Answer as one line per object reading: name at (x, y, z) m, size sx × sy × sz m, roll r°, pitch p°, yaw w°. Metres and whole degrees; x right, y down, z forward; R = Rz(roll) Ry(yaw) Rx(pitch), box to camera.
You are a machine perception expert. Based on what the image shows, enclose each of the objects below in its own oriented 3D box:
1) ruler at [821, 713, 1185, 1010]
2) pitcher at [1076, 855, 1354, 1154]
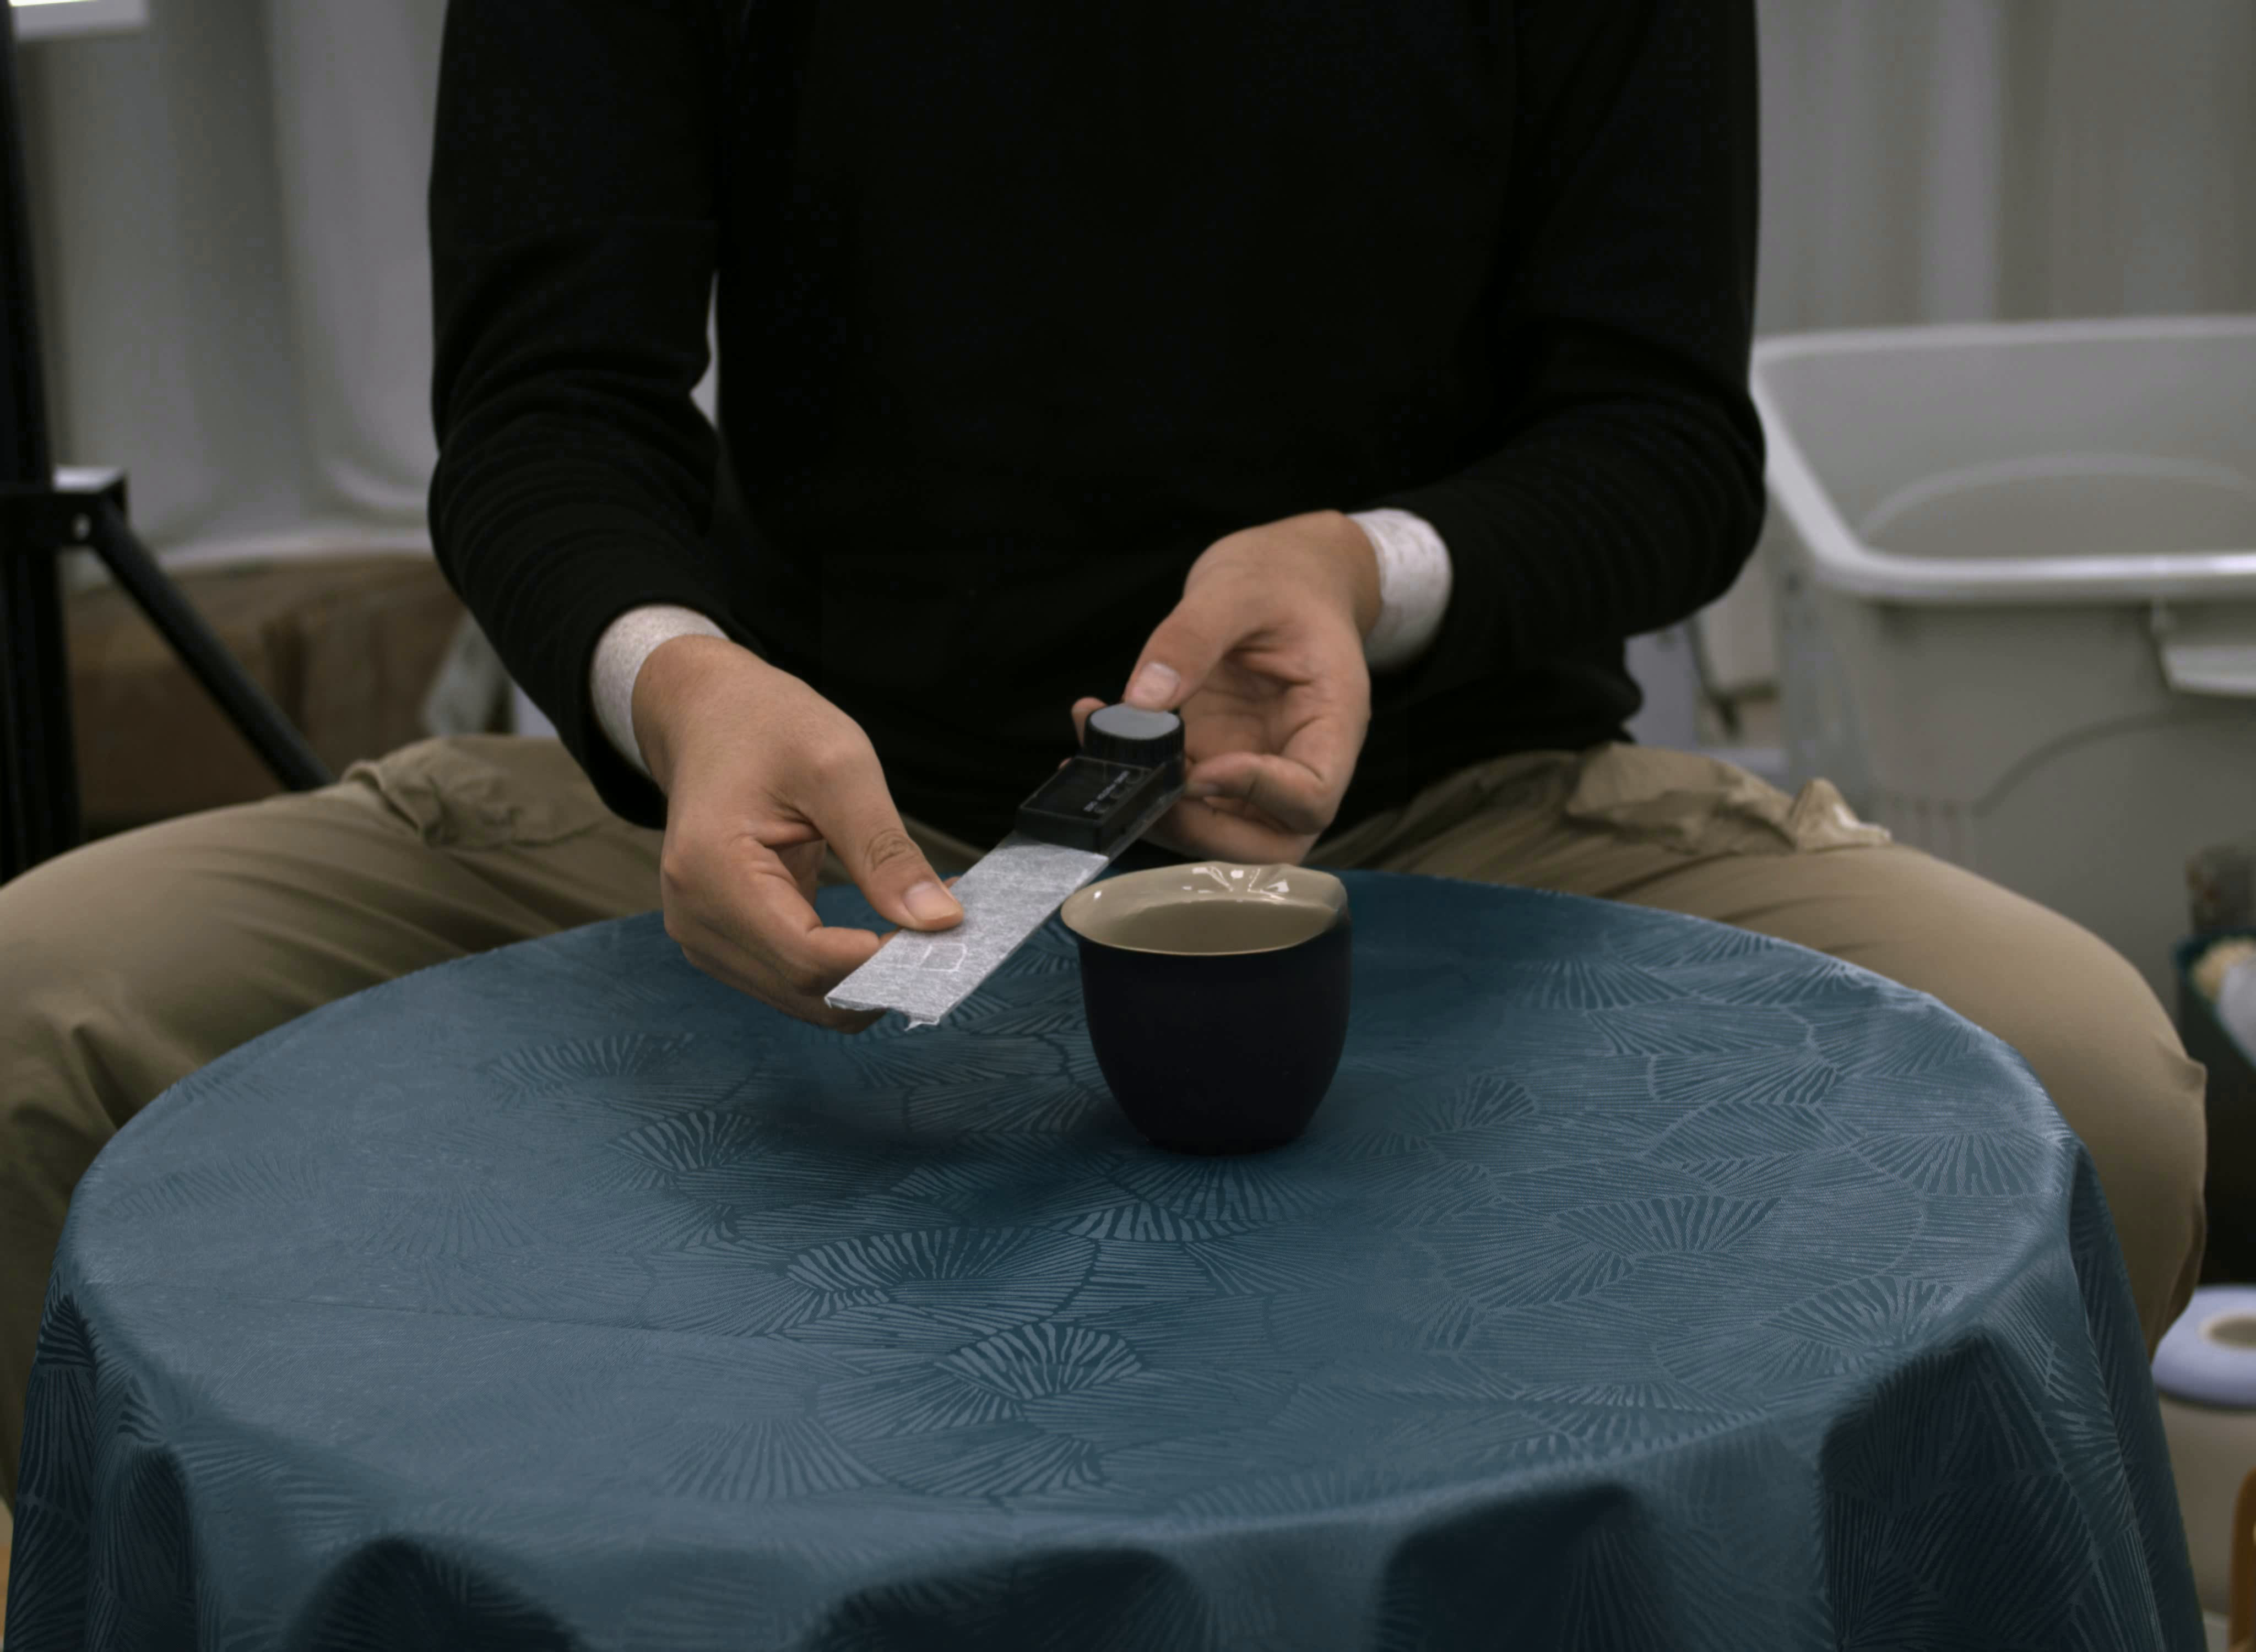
ruler at (-0.033, 0.008, 1.614) m, size 0.039 × 0.024 × 0.215 m, roll 3°, pitch 20°, yaw 22°
pitcher at (0.029, 0.056, 1.603) m, size 0.084 × 0.071 × 0.095 m, roll 1°, pitch 17°, yaw 16°
